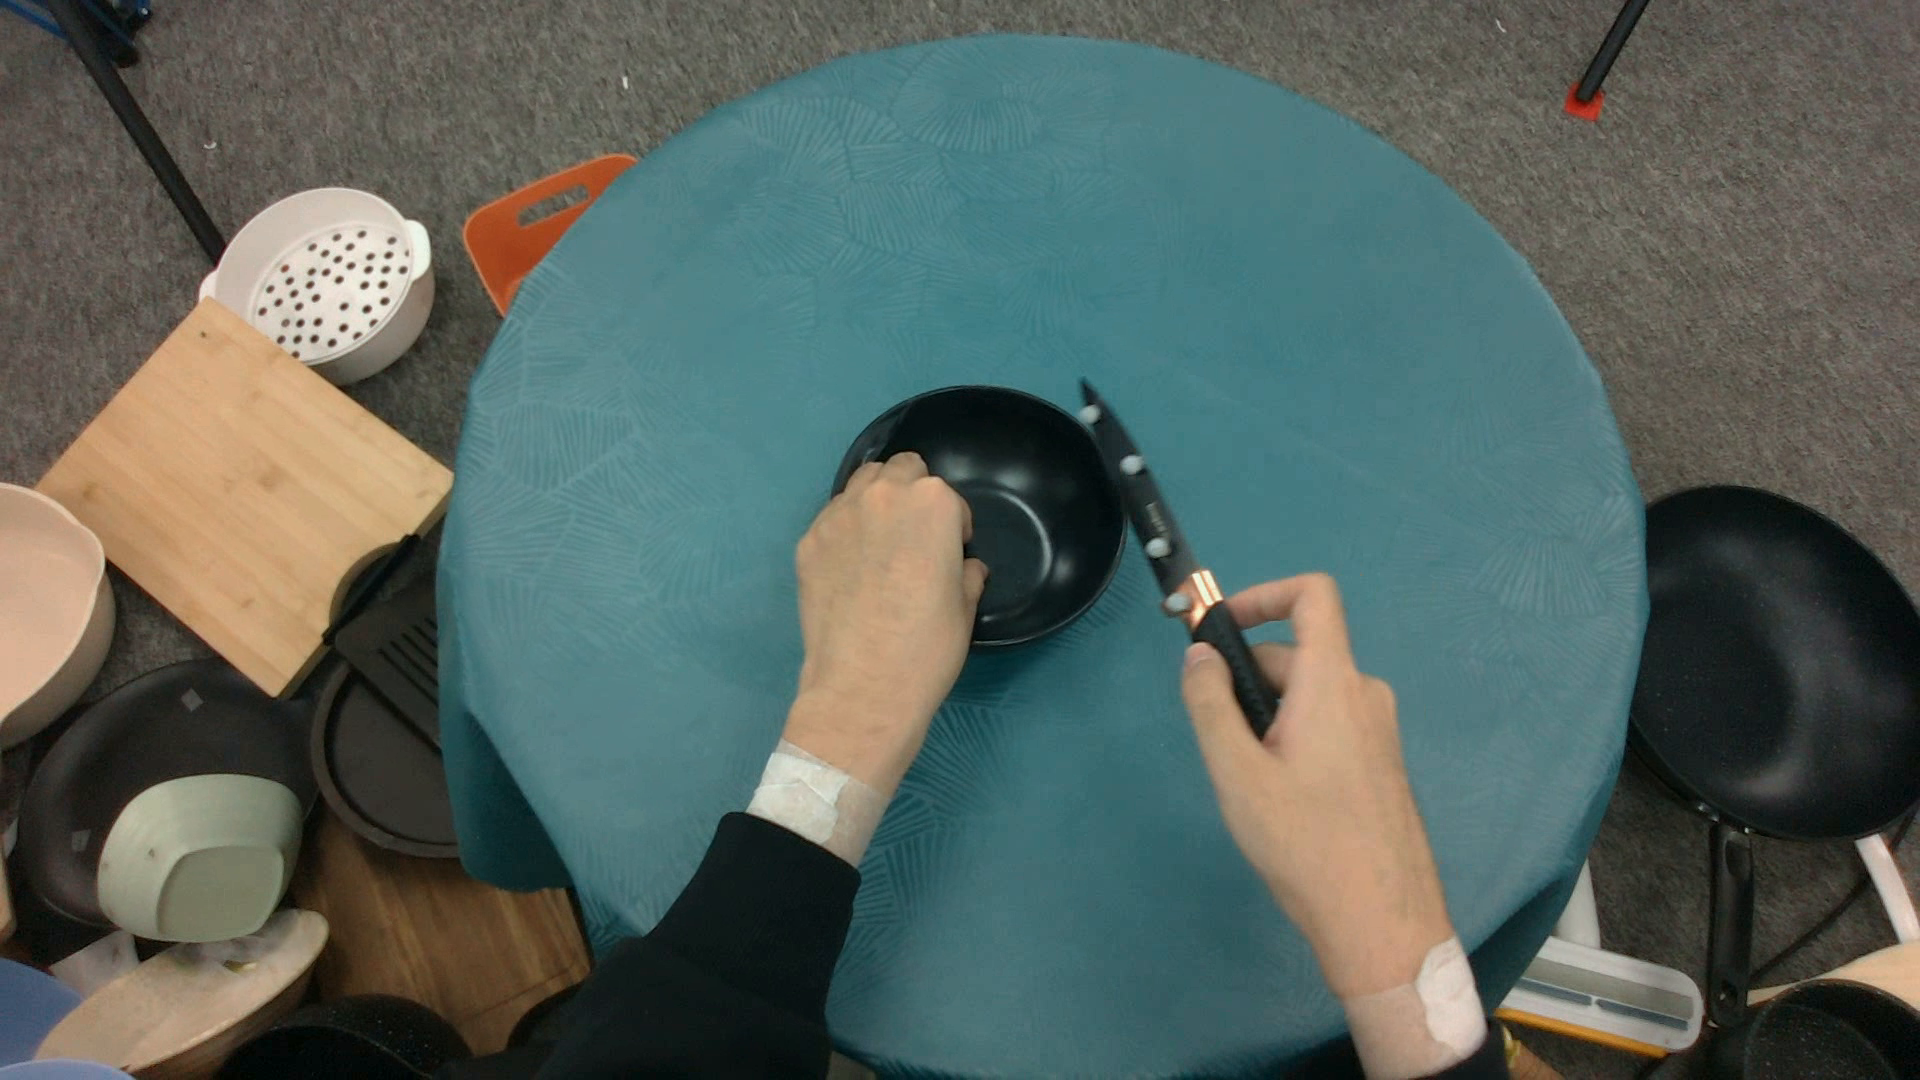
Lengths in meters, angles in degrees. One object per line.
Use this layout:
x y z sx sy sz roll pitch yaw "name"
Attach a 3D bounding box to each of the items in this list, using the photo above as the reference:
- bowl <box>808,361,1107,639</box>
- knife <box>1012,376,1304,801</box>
-0.002 -0.013 0.656 0.140 0.049 0.140 2 67 -4 "bowl"
0.075 0.010 0.563 0.017 0.026 0.226 2 50 -42 "knife"
